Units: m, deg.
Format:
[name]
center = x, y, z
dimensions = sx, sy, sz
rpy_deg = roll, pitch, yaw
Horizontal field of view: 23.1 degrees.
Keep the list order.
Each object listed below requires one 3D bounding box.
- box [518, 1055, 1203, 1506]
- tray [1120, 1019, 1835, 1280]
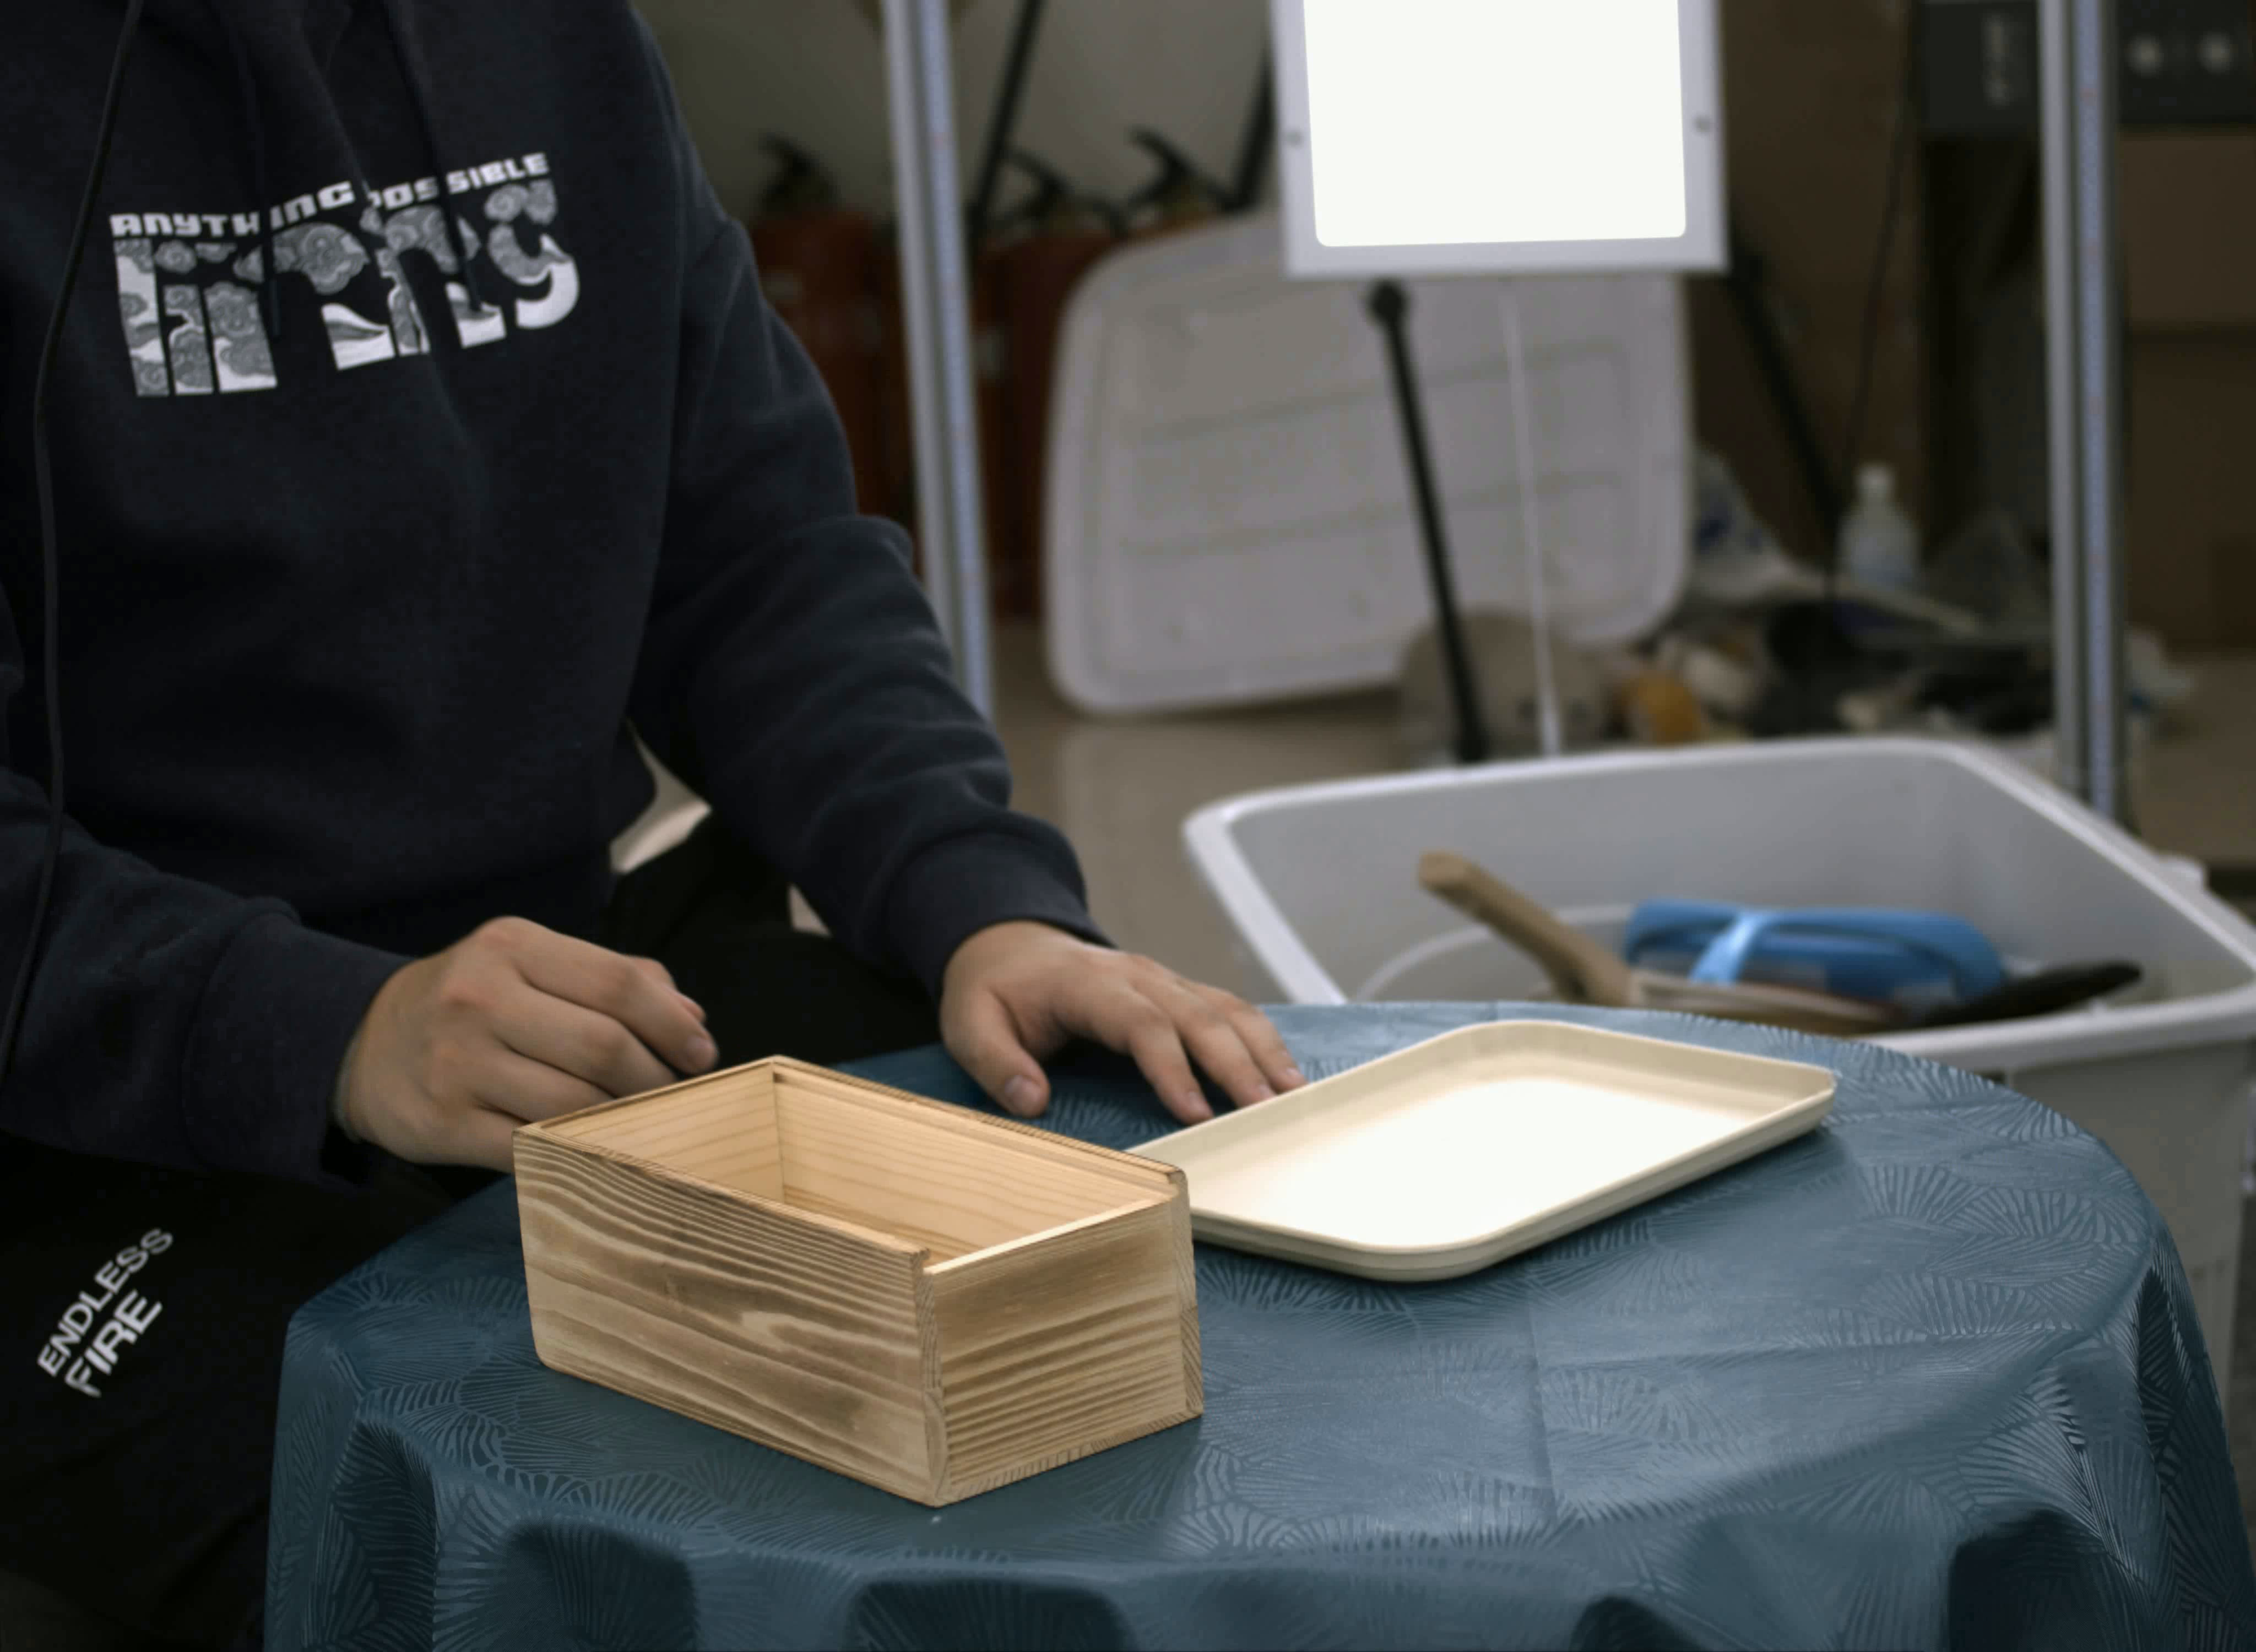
[box]
center = -0.086, 0.137, 1.714
dimensions = 0.105, 0.080, 0.216
rpy_deg = -14, 16, -37
[tray]
center = 0.118, 0.110, 1.888
dimensions = 0.233, 0.017, 0.175
rpy_deg = -18, 18, -42
